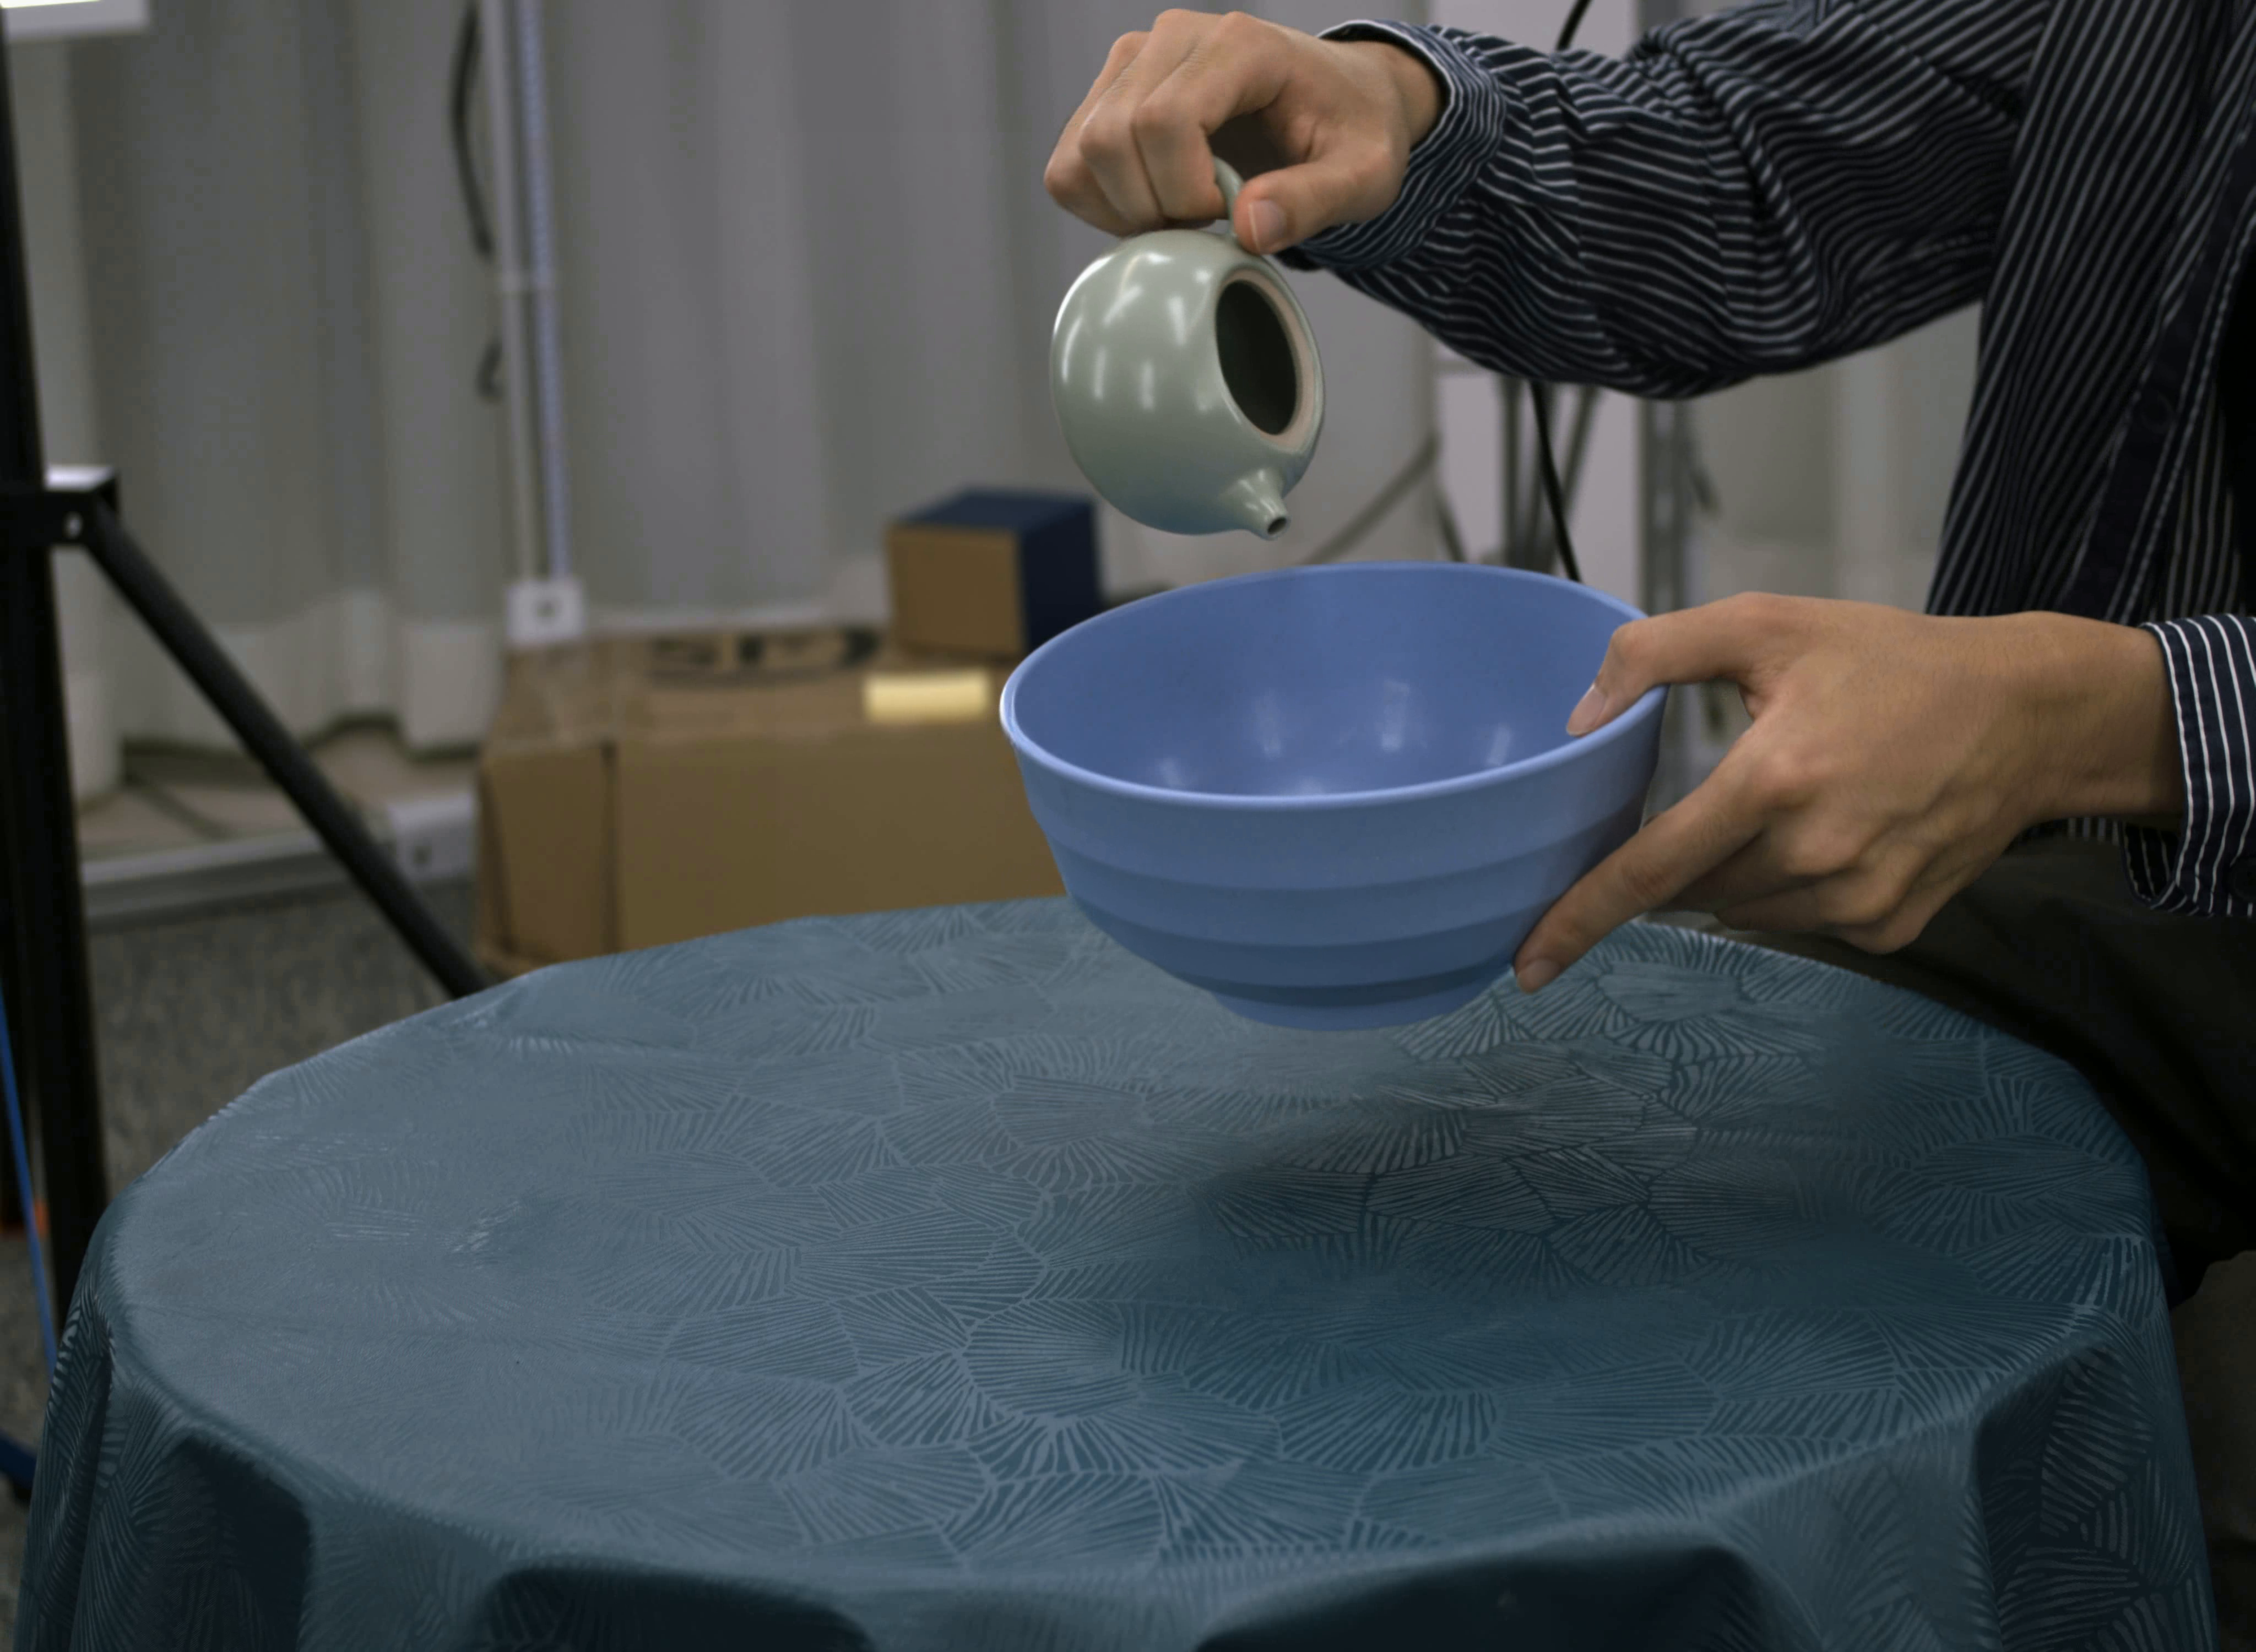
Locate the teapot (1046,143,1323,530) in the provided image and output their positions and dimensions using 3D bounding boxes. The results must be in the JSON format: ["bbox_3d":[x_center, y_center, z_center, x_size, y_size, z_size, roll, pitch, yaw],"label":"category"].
[{"bbox_3d":[0.015,-0.142,1.583,0.062,0.130,0.089,-17,-23,35],"label":"teapot"}]

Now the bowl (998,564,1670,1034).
[{"bbox_3d":[0.063,-0.001,1.560,0.196,0.095,0.198,-6,22,1],"label":"bowl"}]
